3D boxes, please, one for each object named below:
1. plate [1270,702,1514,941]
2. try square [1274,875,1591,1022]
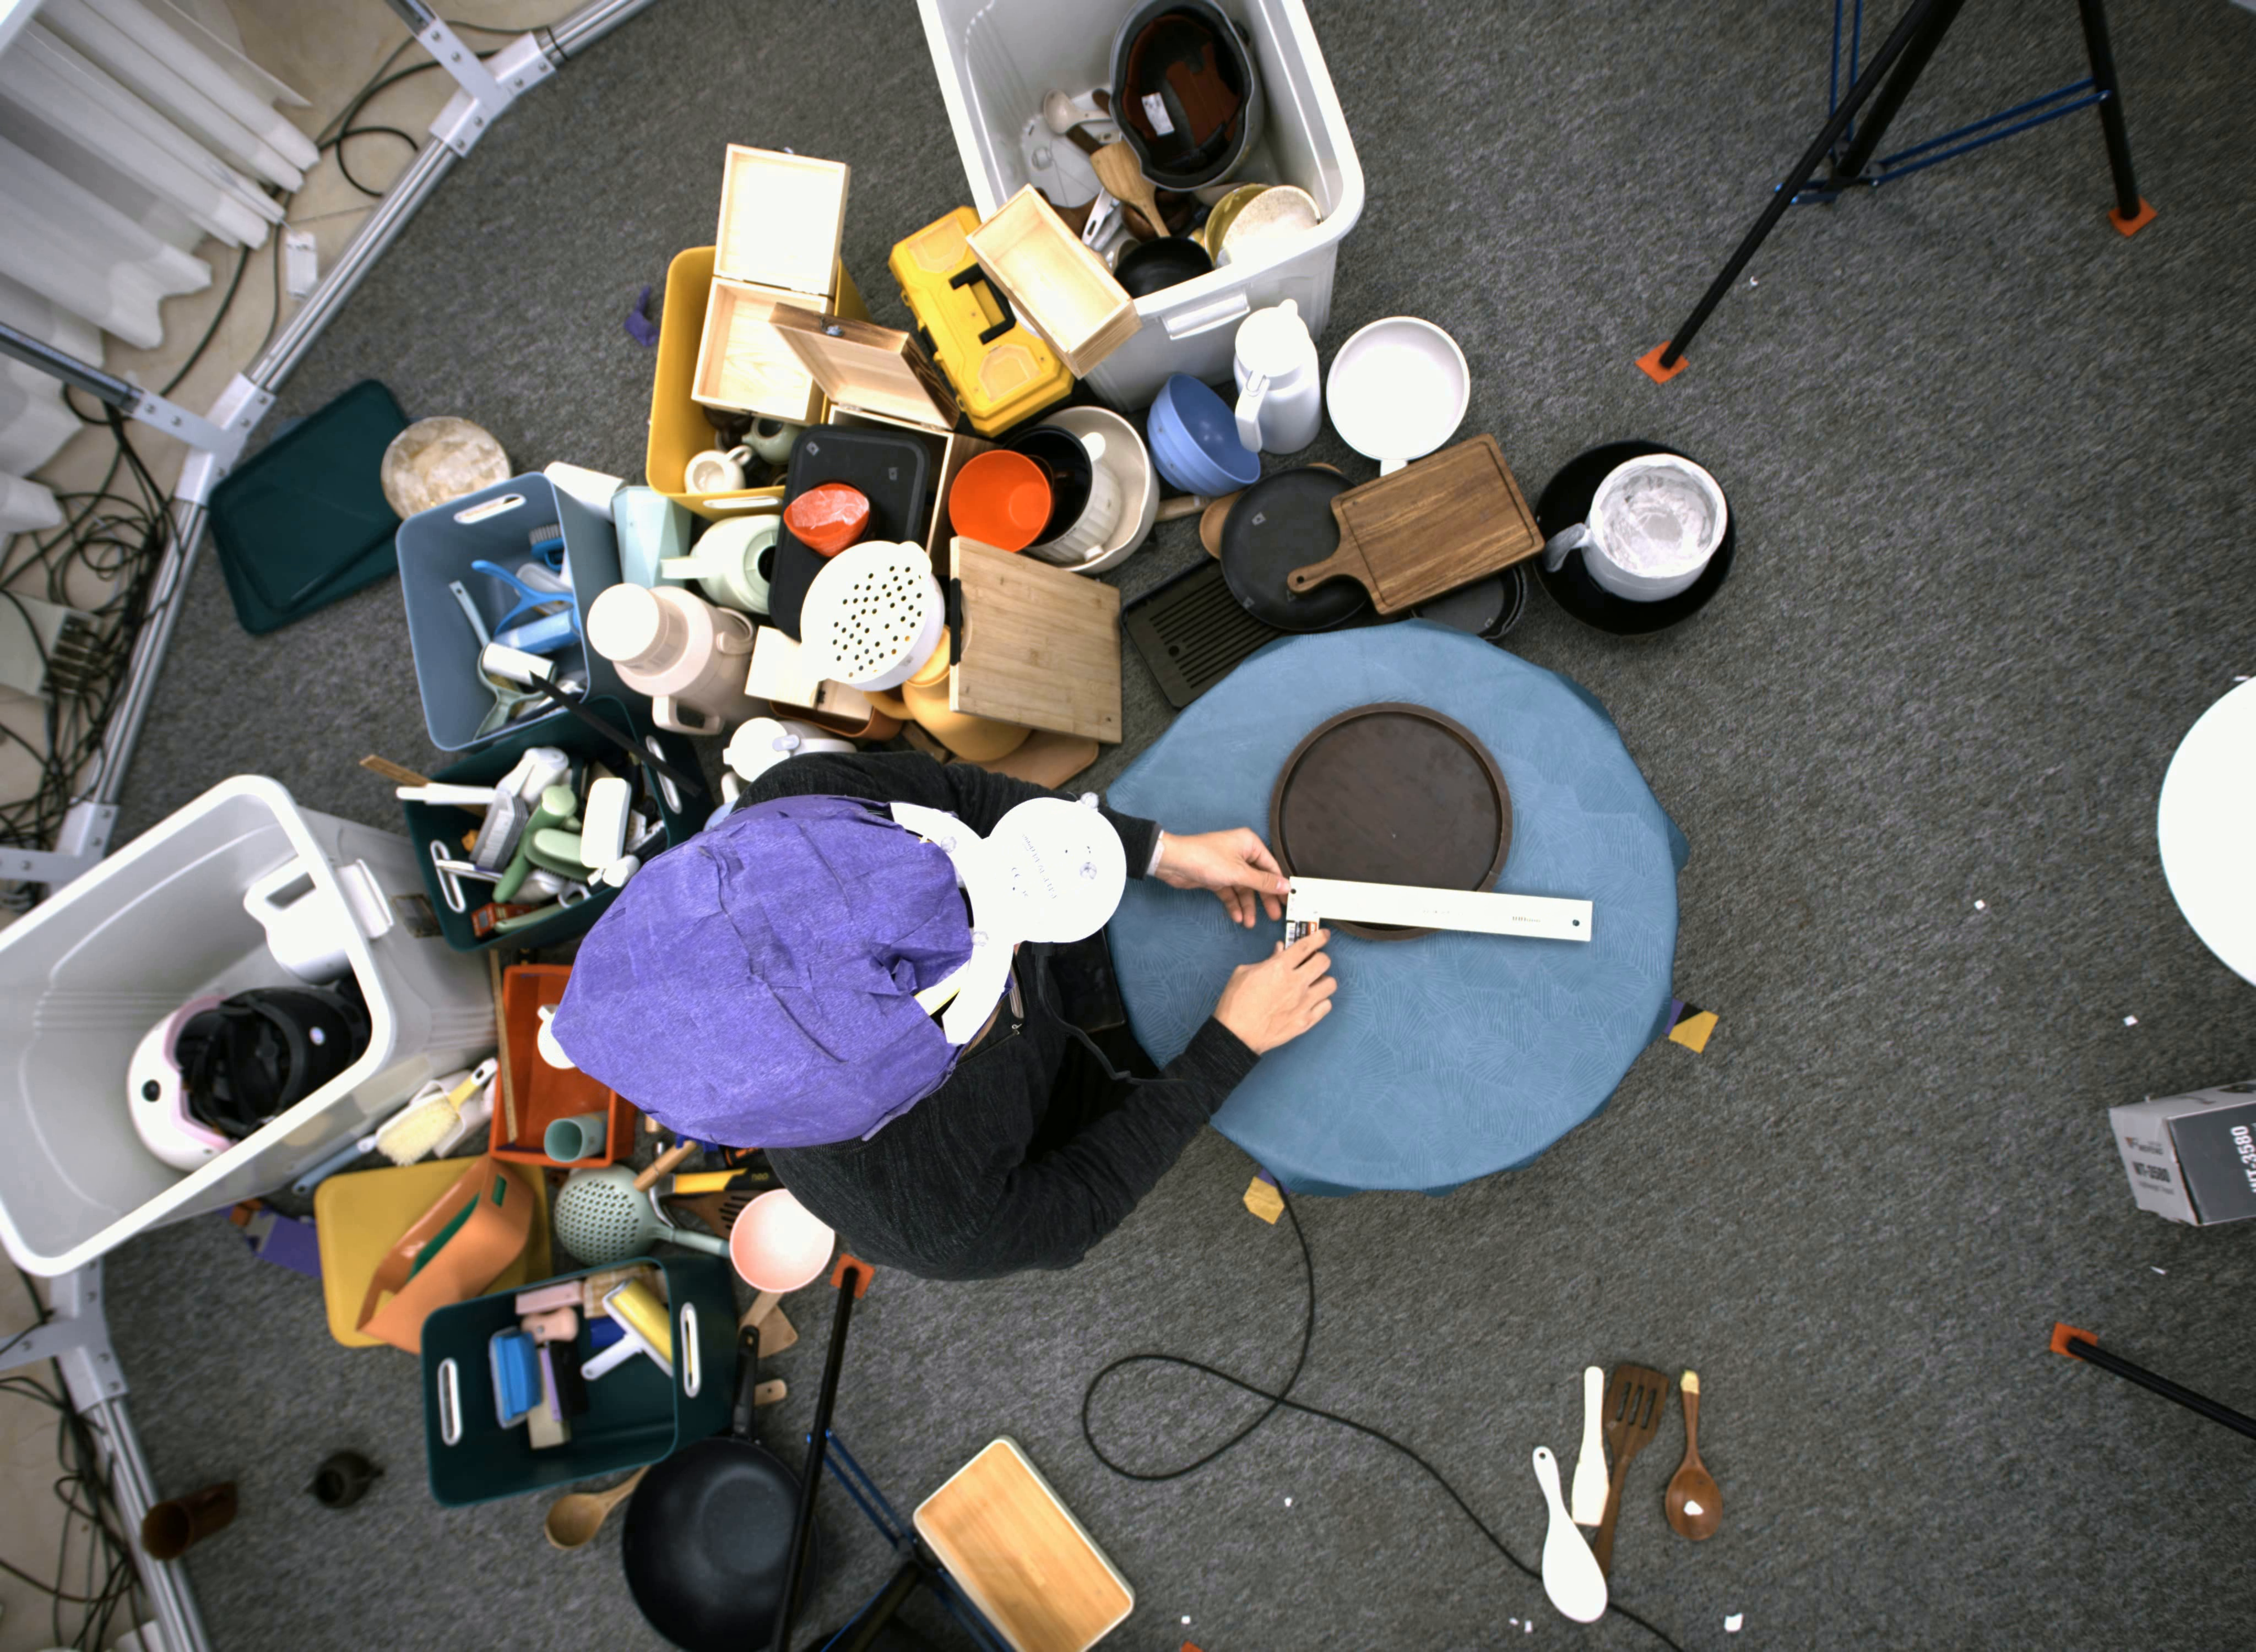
[{"bbox_3d":[0.276,-0.006,1.451,0.256,0.029,0.254,-1,87,9],"label":"plate"},{"bbox_3d":[0.312,0.137,1.421,0.314,0.016,0.151,5,85,10],"label":"try square"}]
